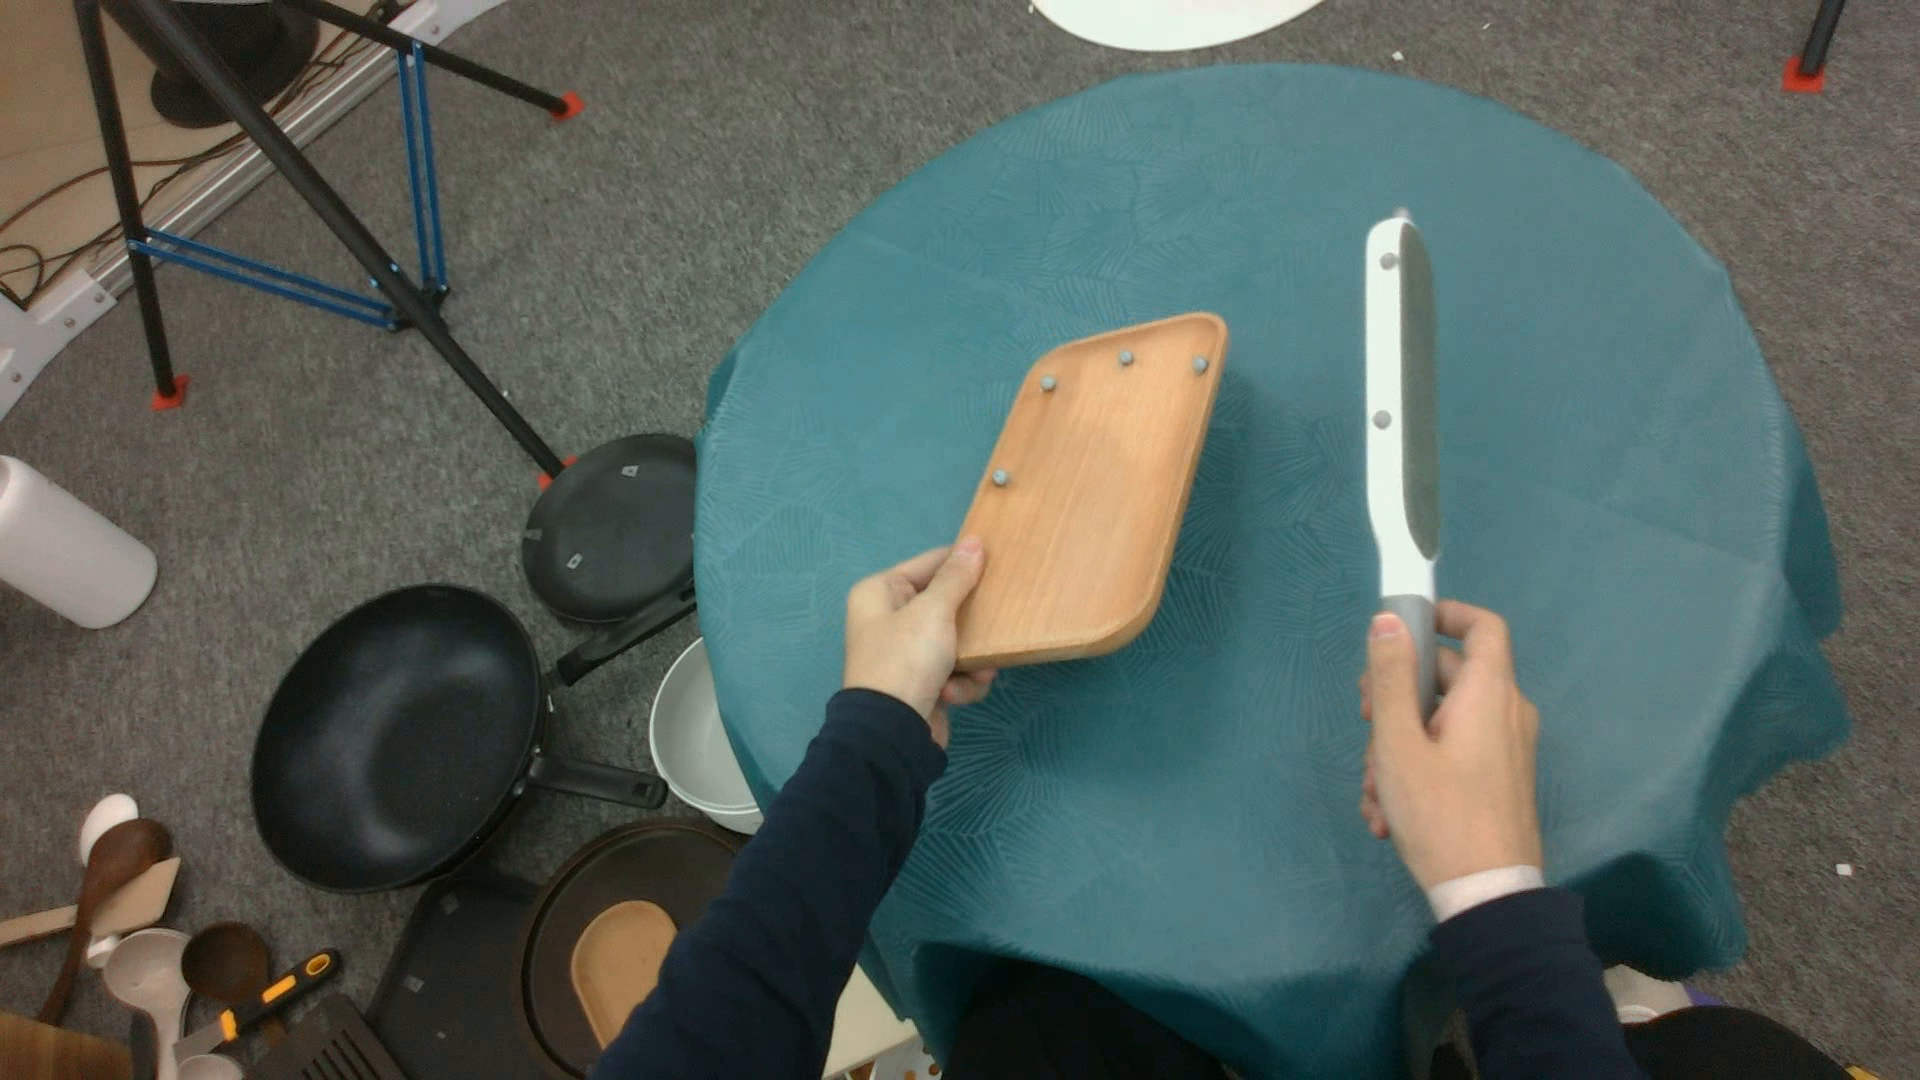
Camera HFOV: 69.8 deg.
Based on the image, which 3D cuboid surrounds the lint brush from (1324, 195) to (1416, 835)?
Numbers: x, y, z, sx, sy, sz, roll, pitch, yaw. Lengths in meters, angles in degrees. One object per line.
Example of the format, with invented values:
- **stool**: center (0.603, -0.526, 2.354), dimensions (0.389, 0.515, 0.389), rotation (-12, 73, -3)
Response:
- **lint brush**: center (0.187, -0.022, 0.627), dimensions (0.021, 0.060, 0.310), rotation (-9, 67, 28)

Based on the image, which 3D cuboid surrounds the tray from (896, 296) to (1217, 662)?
- **tray**: center (0.055, -0.037, 0.711), dimensions (0.130, 0.023, 0.252), rotation (-12, 39, 36)
